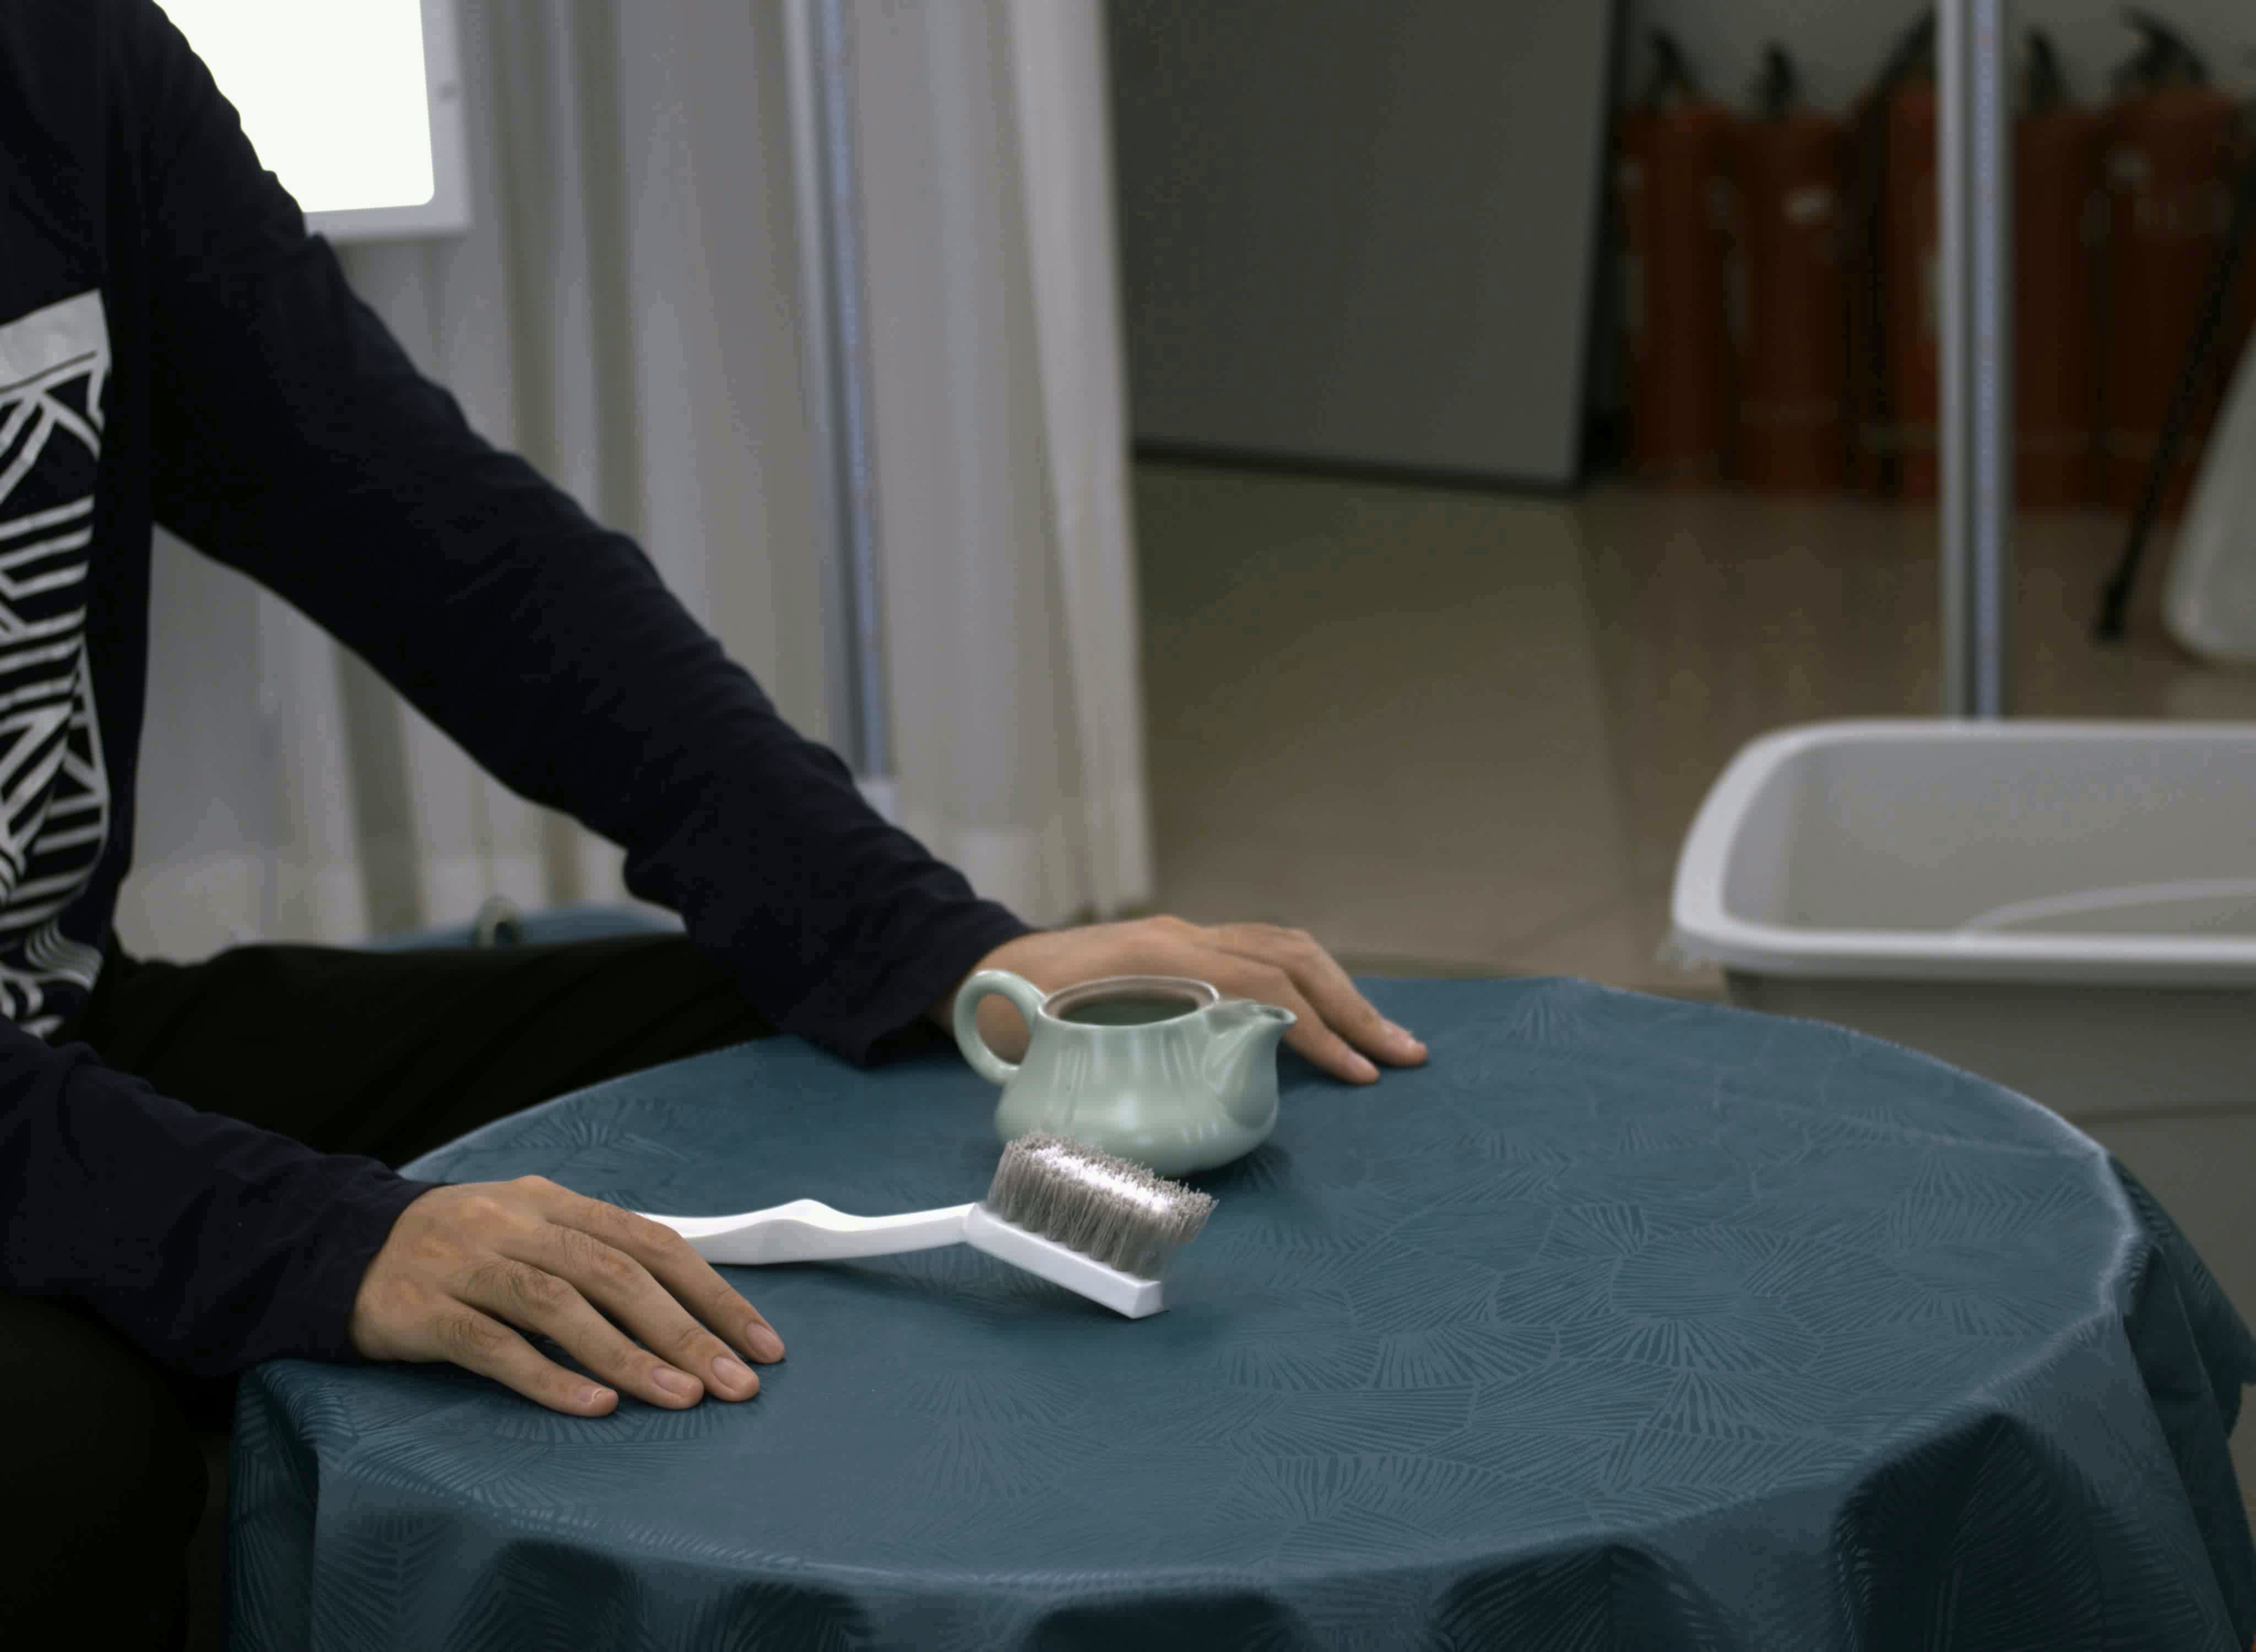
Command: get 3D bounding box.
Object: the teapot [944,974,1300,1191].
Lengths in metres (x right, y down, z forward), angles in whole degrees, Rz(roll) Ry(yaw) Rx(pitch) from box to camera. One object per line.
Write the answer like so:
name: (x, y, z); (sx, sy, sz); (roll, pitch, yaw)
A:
teapot: (-0.002, 0.084, 1.801); (0.137, 0.062, 0.095); (5, 19, 32)

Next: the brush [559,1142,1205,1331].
brush: (-0.083, 0.120, 1.709); (0.245, 0.051, 0.034); (5, 20, 33)
